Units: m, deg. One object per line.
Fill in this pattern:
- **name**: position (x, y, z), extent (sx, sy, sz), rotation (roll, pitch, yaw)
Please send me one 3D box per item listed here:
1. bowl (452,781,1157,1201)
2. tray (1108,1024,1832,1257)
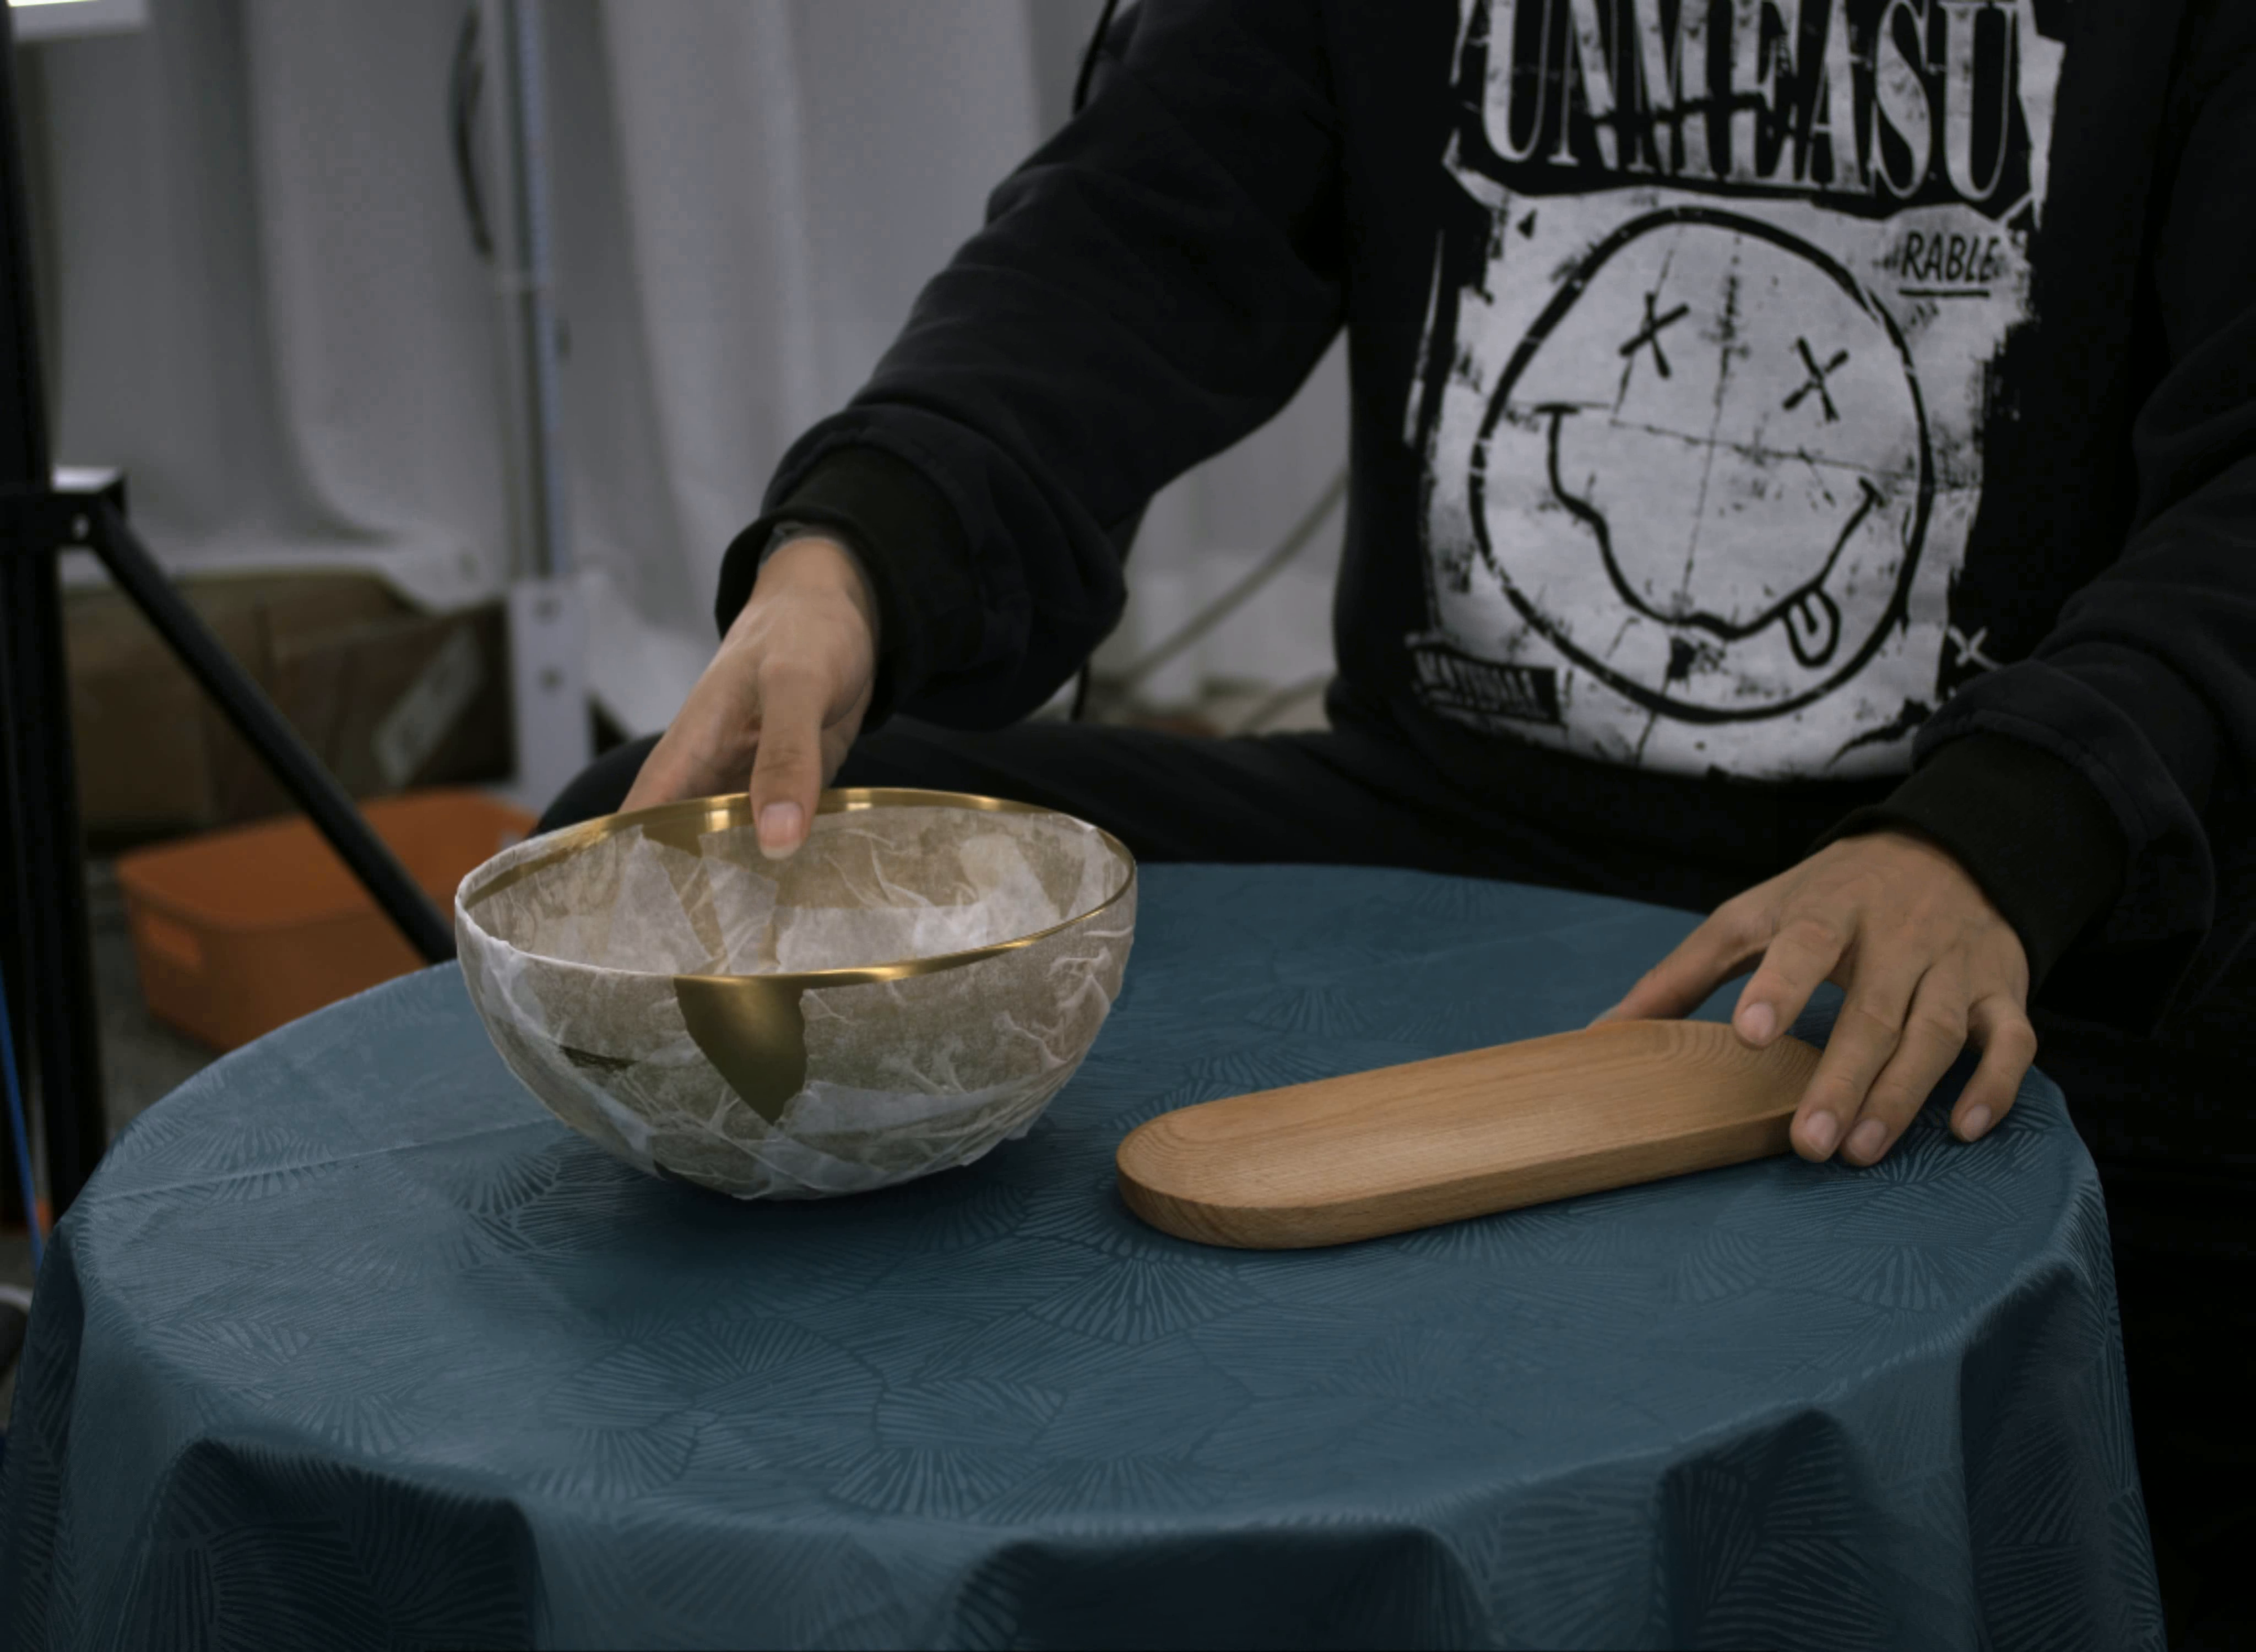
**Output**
- **bowl**: position (-0.092, 0.057, 1.584), extent (0.213, 0.094, 0.216), rotation (-3, 14, -1)
- **tray**: position (0.103, 0.093, 1.567), extent (0.226, 0.020, 0.104), rotation (-12, 16, -23)
